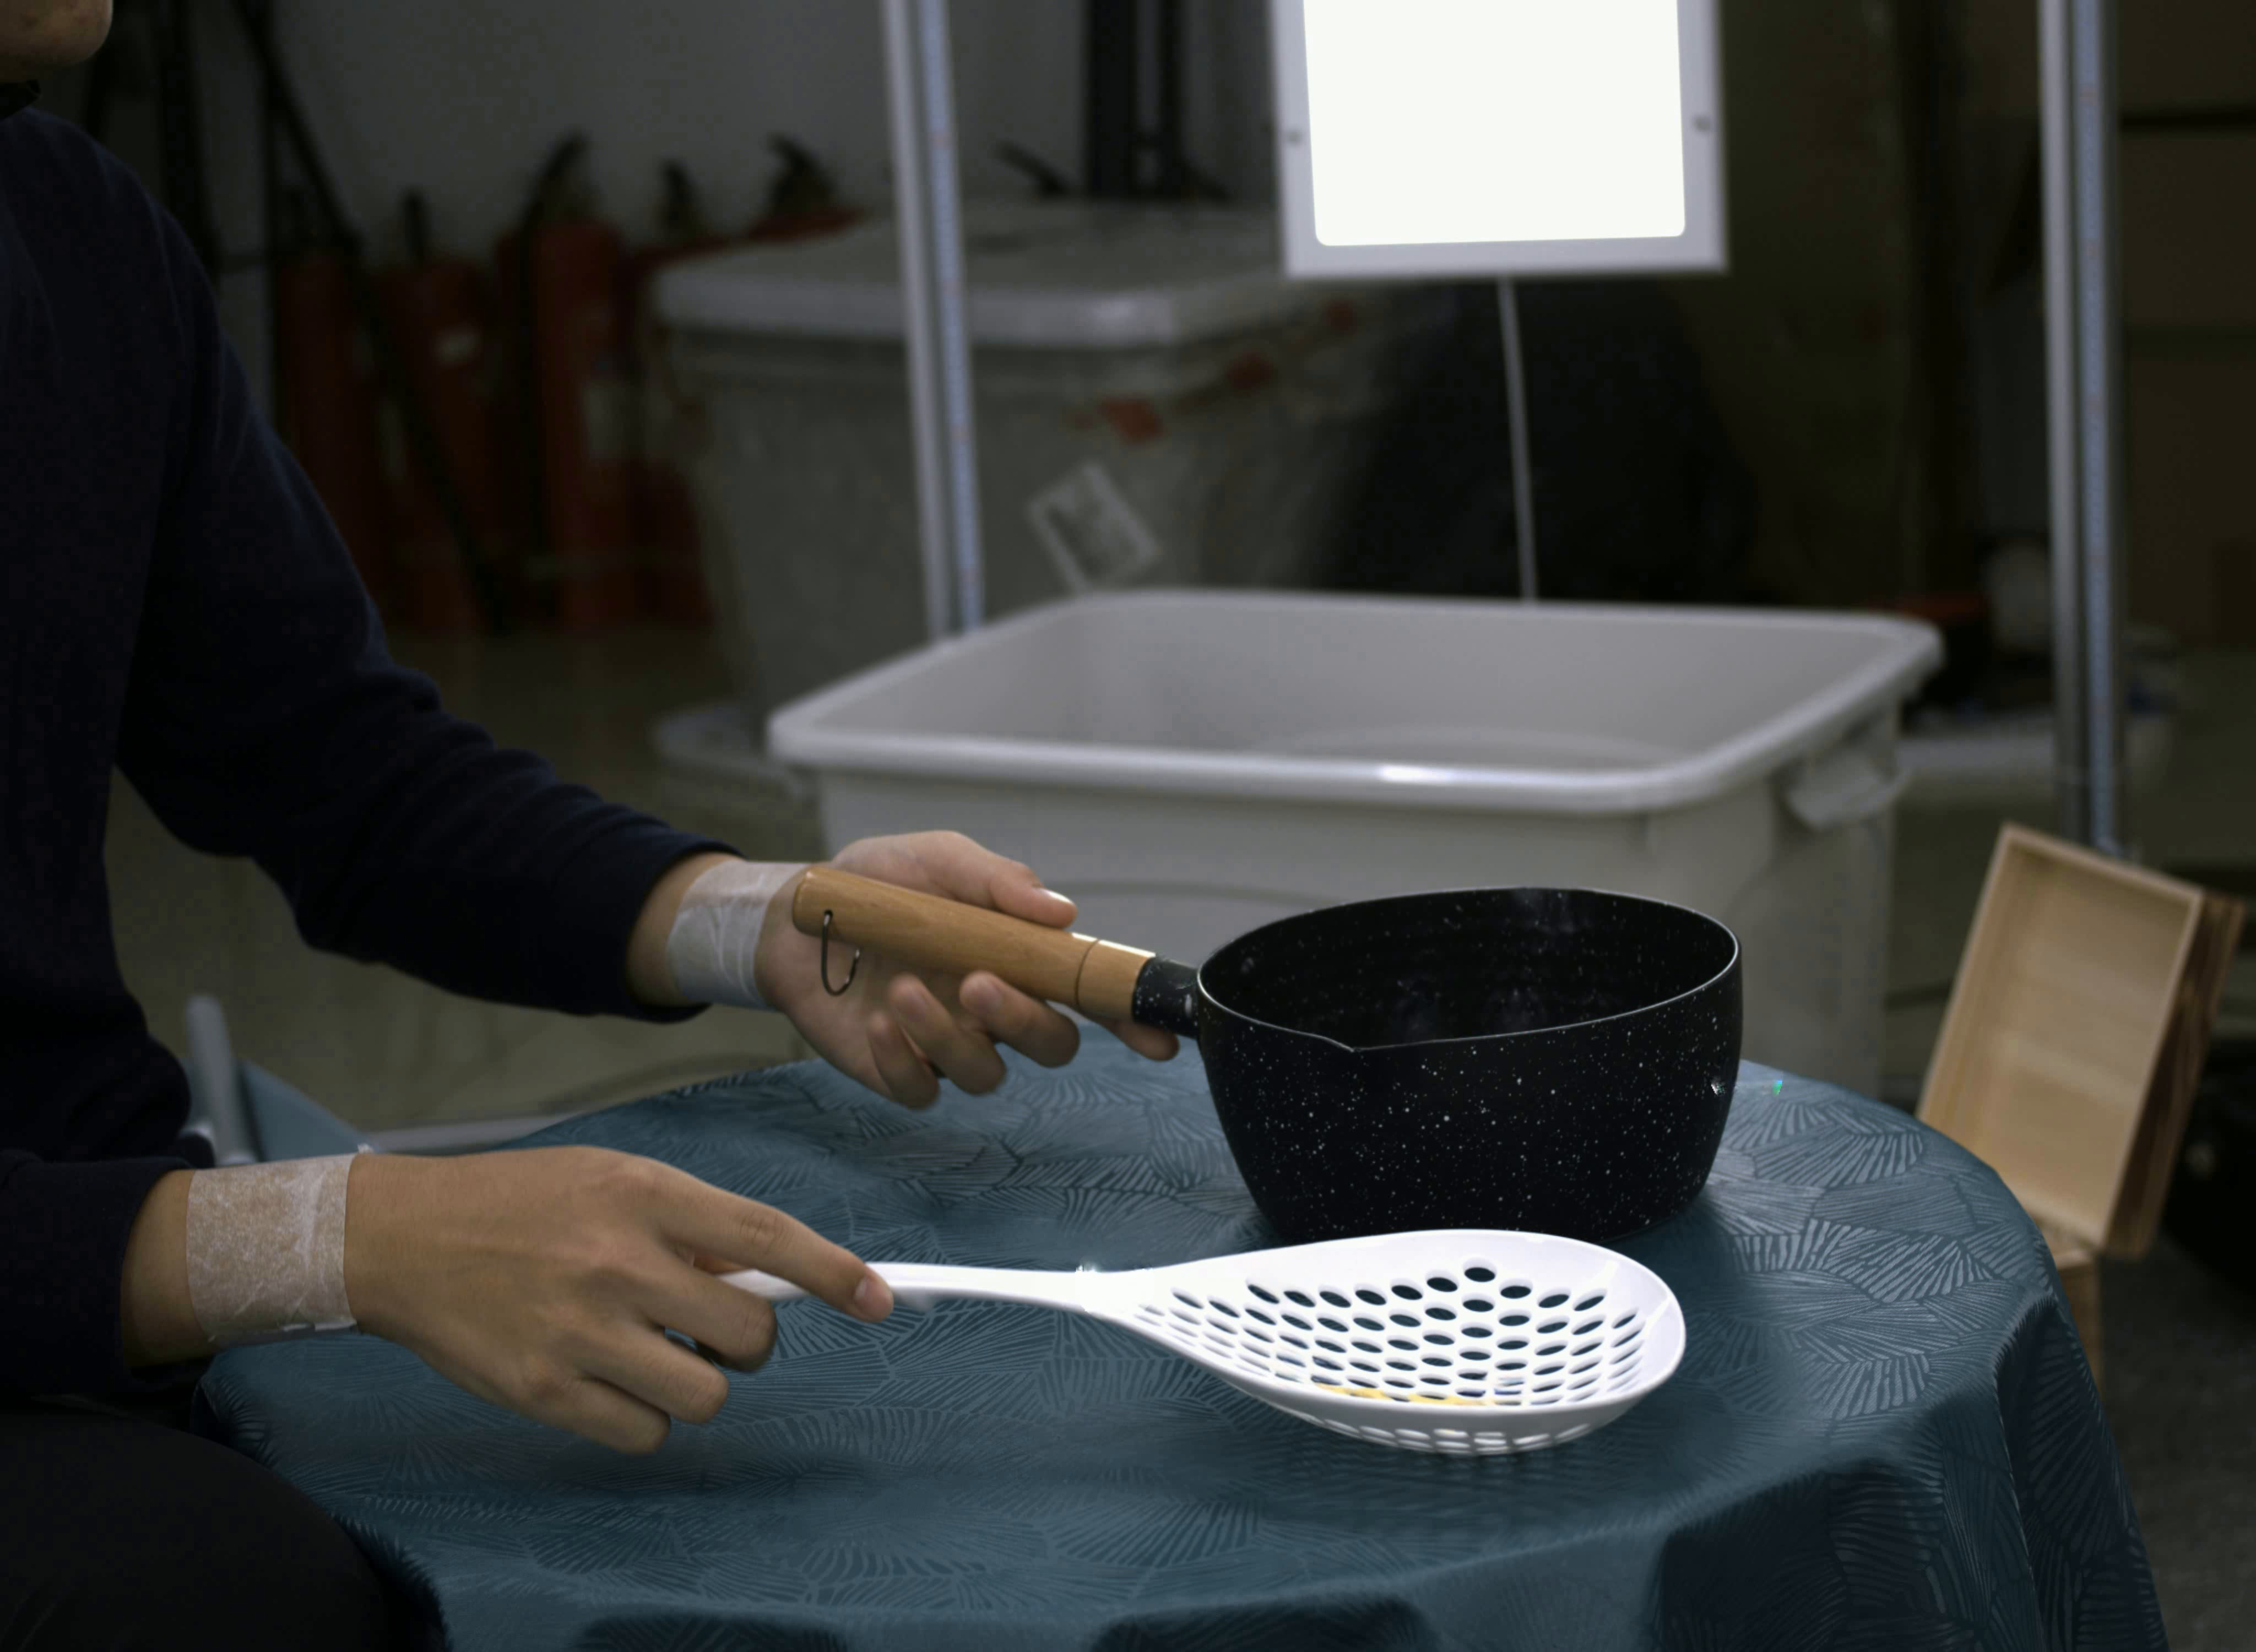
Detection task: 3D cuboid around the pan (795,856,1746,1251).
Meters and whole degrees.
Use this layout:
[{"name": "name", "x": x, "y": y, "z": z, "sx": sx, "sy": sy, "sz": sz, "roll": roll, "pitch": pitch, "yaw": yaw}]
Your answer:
[{"name": "pan", "x": 0.043, "y": 0.071, "z": 1.879, "sx": 0.348, "sy": 0.108, "sz": 0.203, "roll": 2, "pitch": 17, "yaw": 23}]

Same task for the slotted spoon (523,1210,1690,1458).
[{"name": "slotted spoon", "x": -0.007, "y": 0.148, "z": 1.647, "sx": 0.348, "sy": 0.050, "sz": 0.135, "roll": 7, "pitch": 21, "yaw": 6}]
